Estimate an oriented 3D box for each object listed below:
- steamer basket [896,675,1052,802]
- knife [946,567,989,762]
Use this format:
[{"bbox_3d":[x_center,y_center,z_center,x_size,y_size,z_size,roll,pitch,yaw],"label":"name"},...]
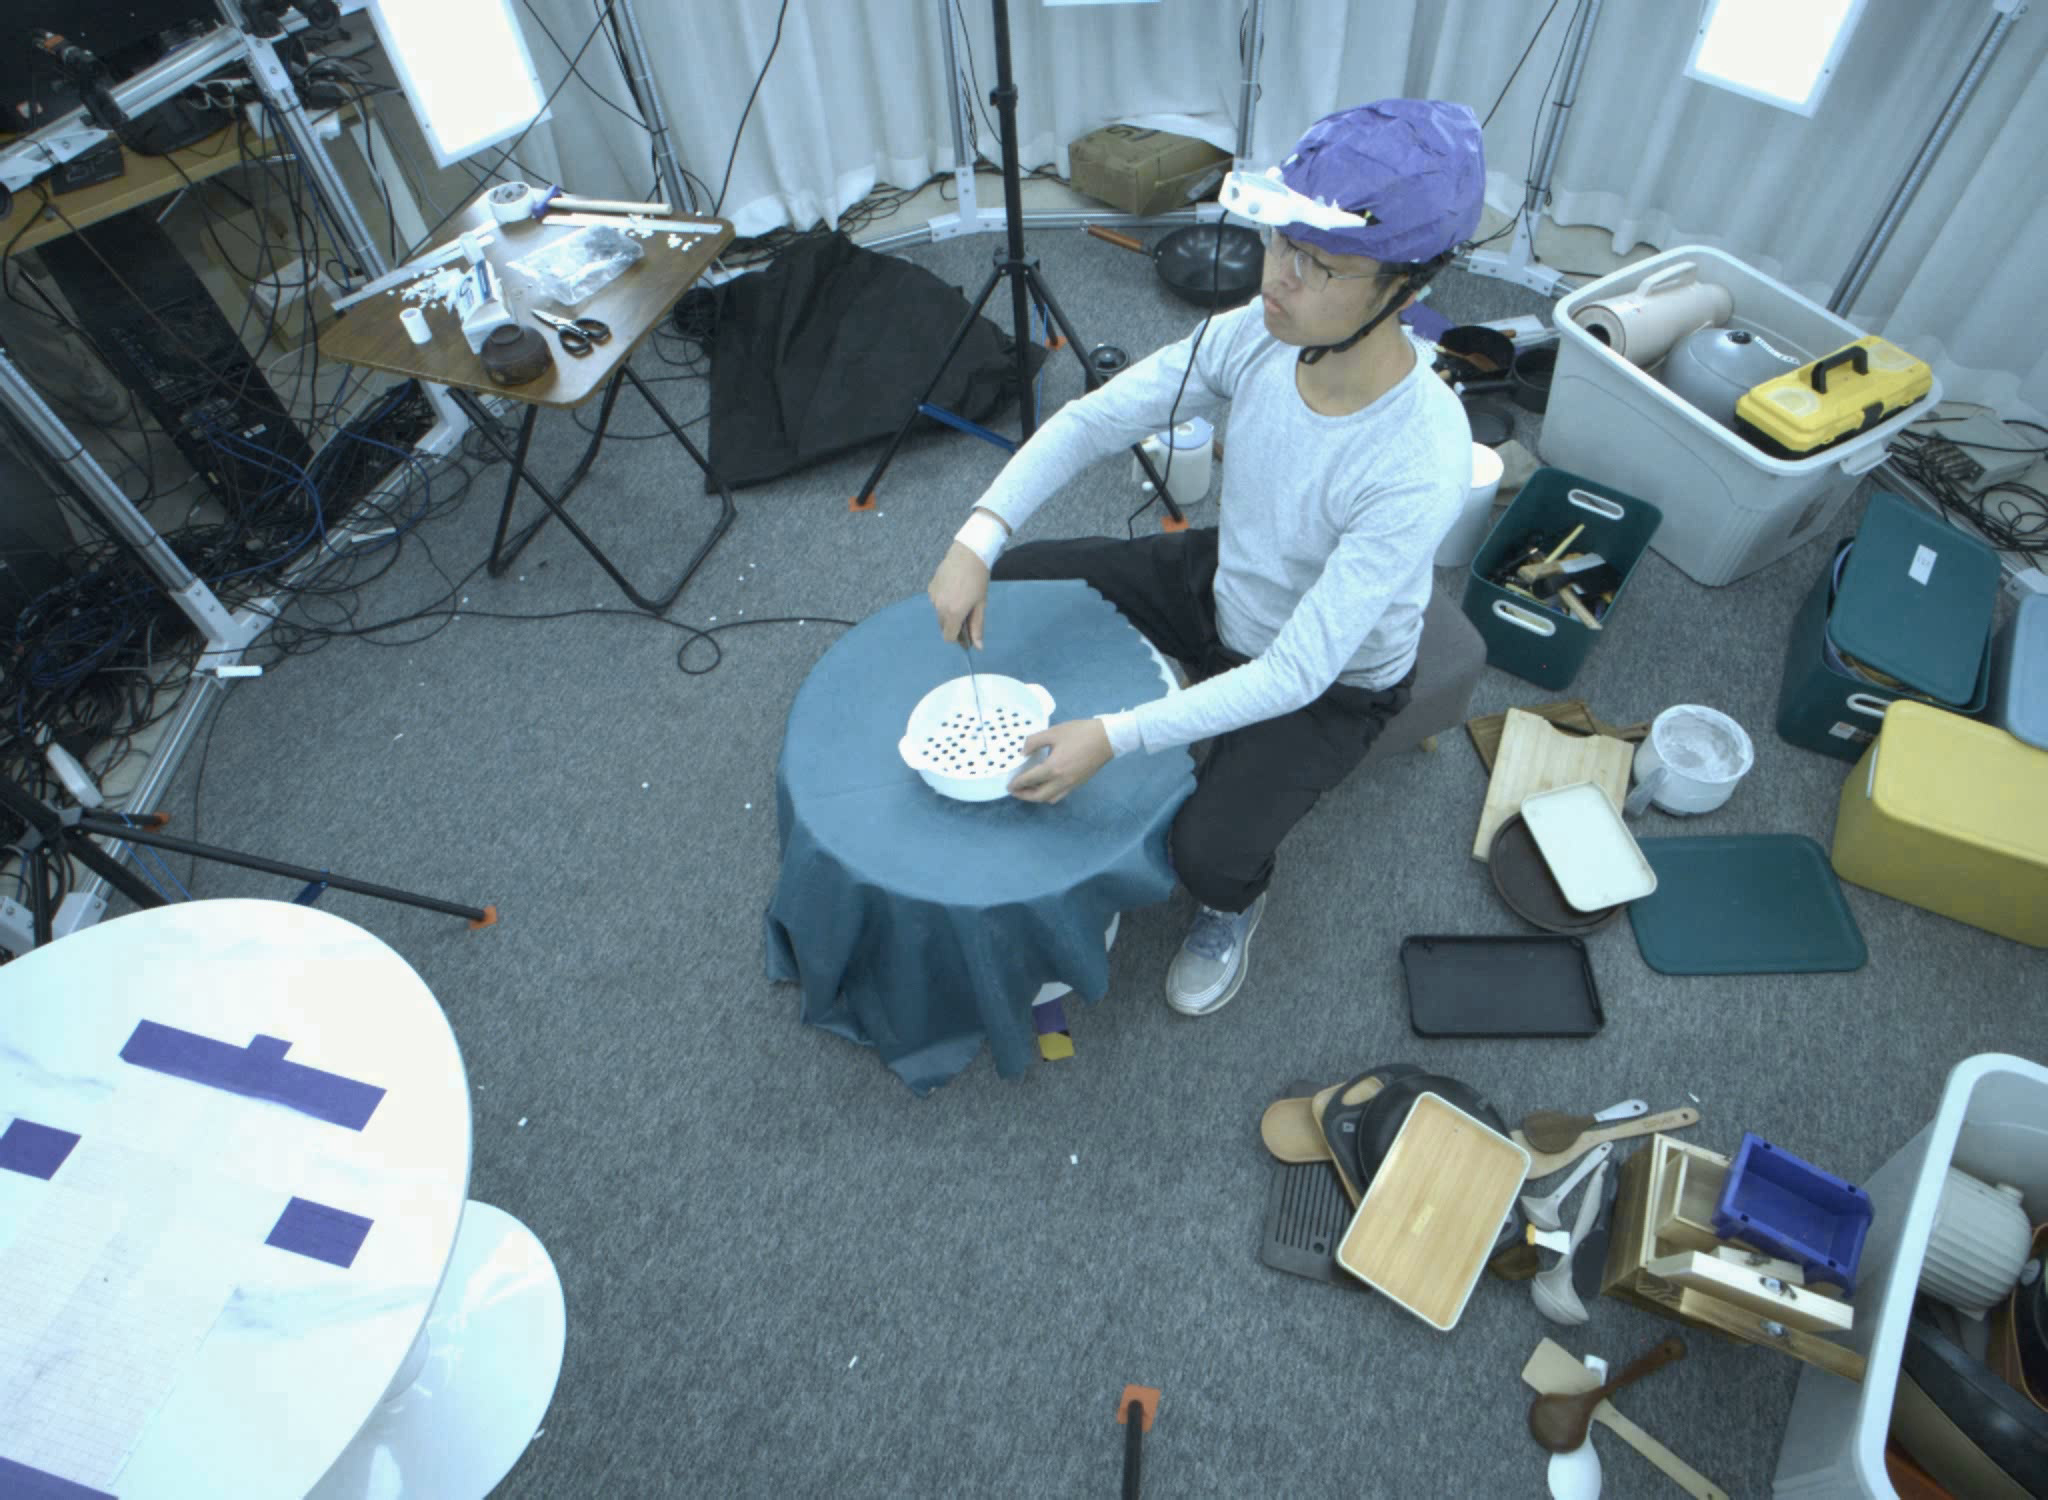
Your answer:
[{"bbox_3d":[-0.068,-0.016,1.758,0.232,0.070,0.198,-23,51,-15],"label":"steamer basket"},{"bbox_3d":[-0.078,-0.124,1.756,0.020,0.050,0.288,-11,82,-3],"label":"knife"}]
